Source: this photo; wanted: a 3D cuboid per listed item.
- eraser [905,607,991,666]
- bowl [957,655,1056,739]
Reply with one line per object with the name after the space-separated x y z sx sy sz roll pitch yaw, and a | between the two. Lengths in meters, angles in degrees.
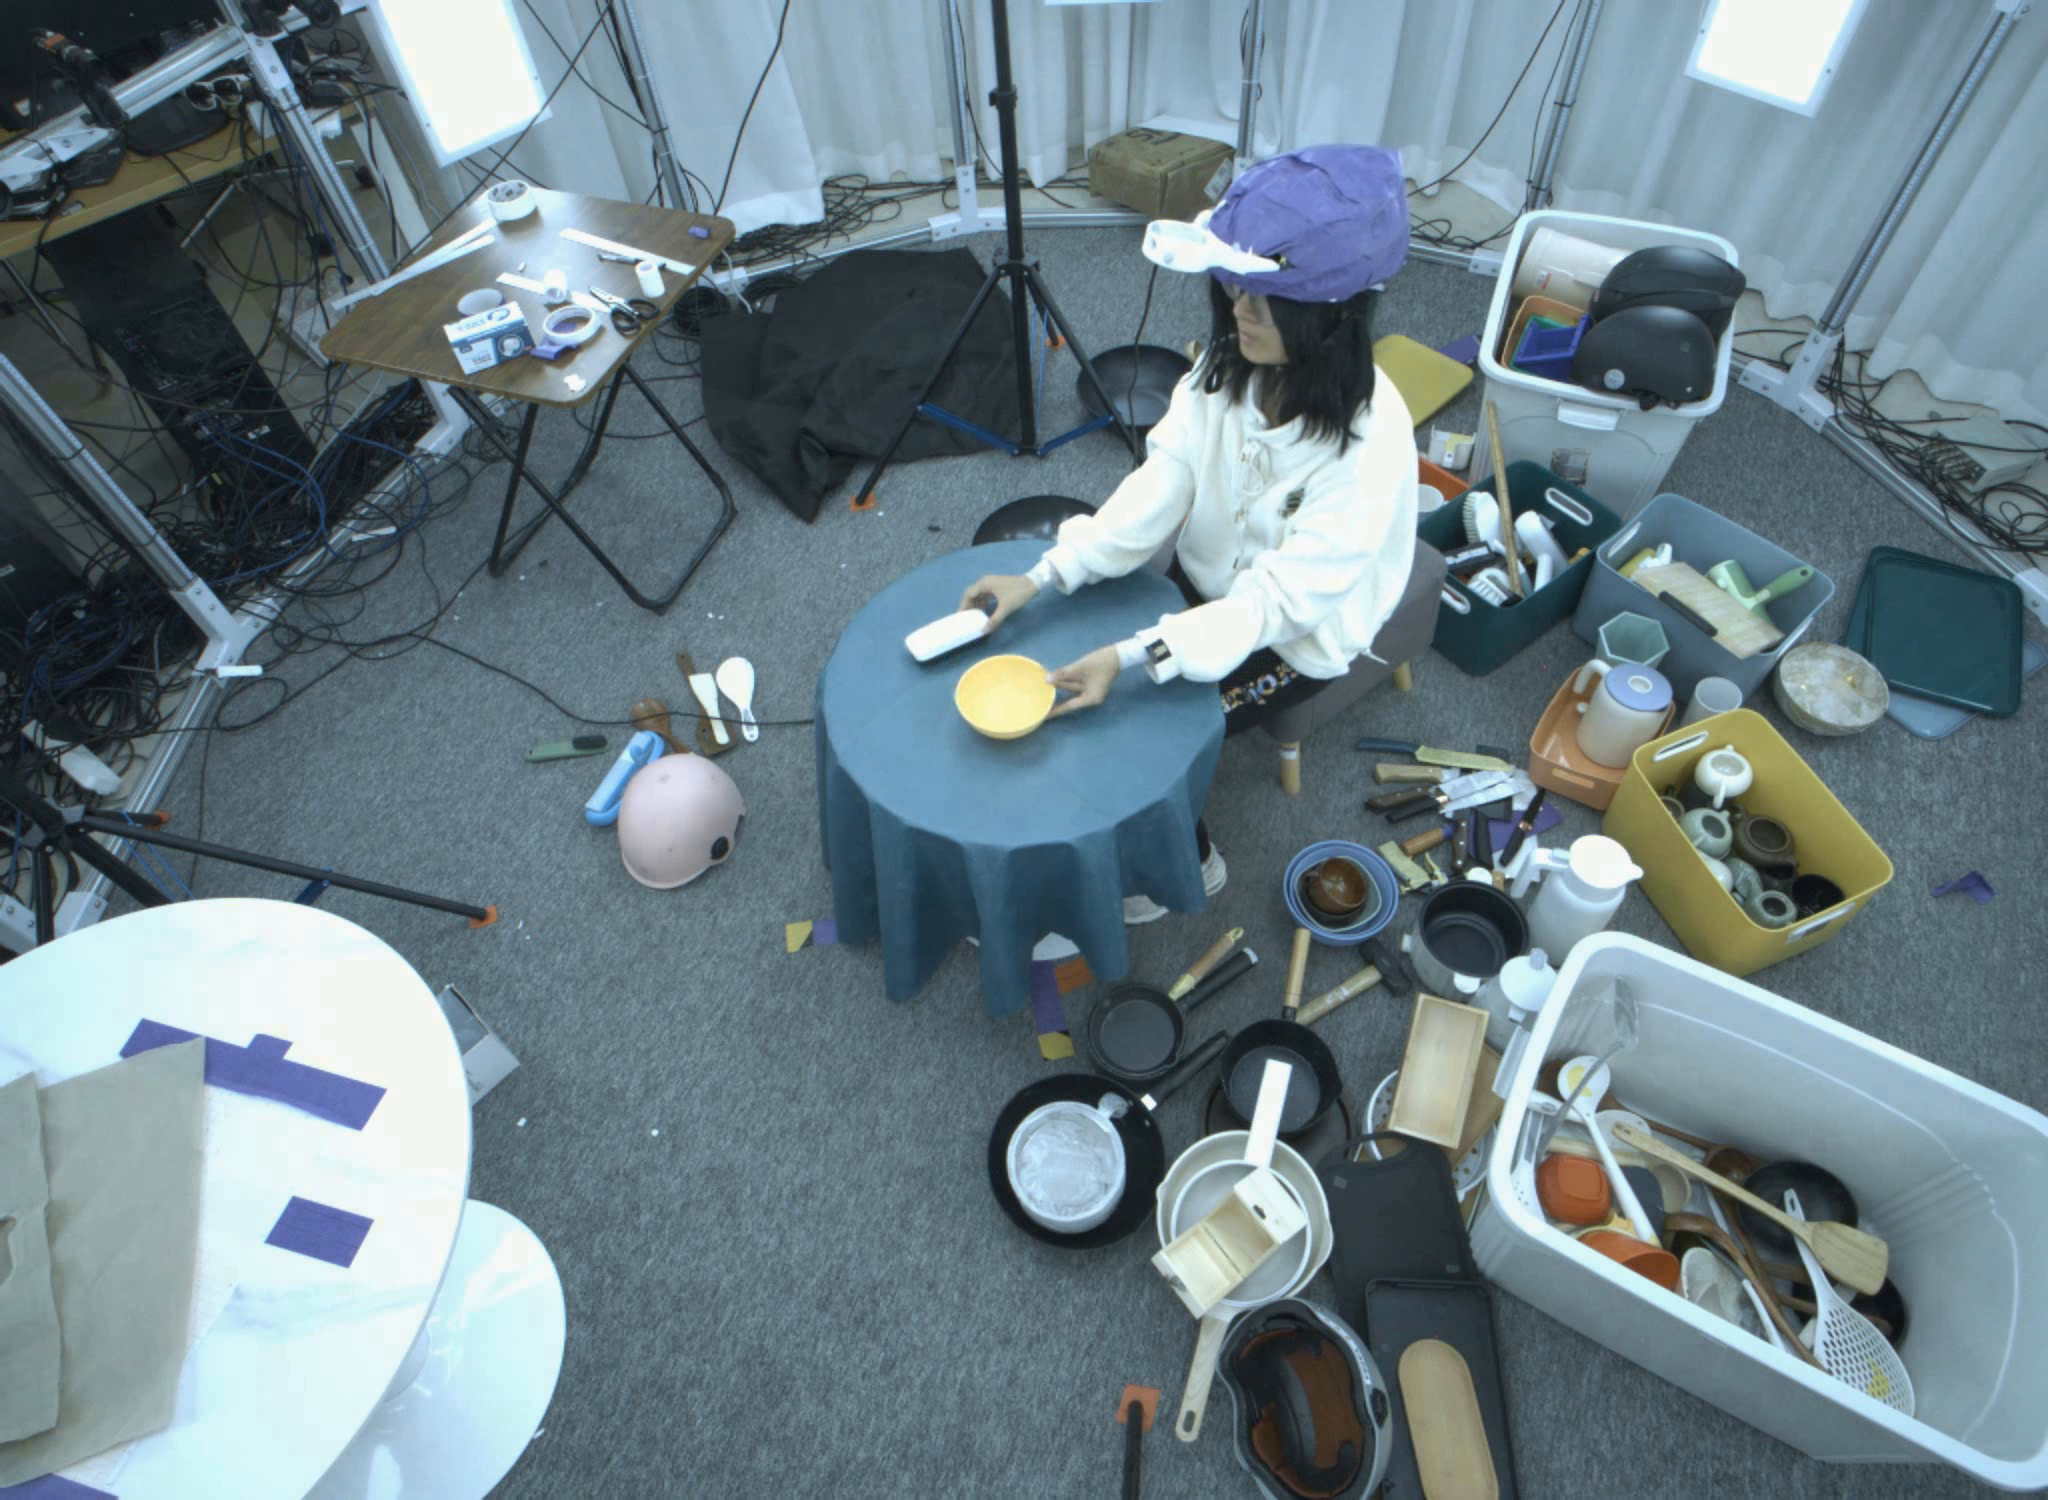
-0.117 -0.176 1.889 0.132 0.035 0.062 -25 44 -13 | eraser
-0.023 -0.066 1.800 0.145 0.061 0.144 -2 55 4 | bowl
